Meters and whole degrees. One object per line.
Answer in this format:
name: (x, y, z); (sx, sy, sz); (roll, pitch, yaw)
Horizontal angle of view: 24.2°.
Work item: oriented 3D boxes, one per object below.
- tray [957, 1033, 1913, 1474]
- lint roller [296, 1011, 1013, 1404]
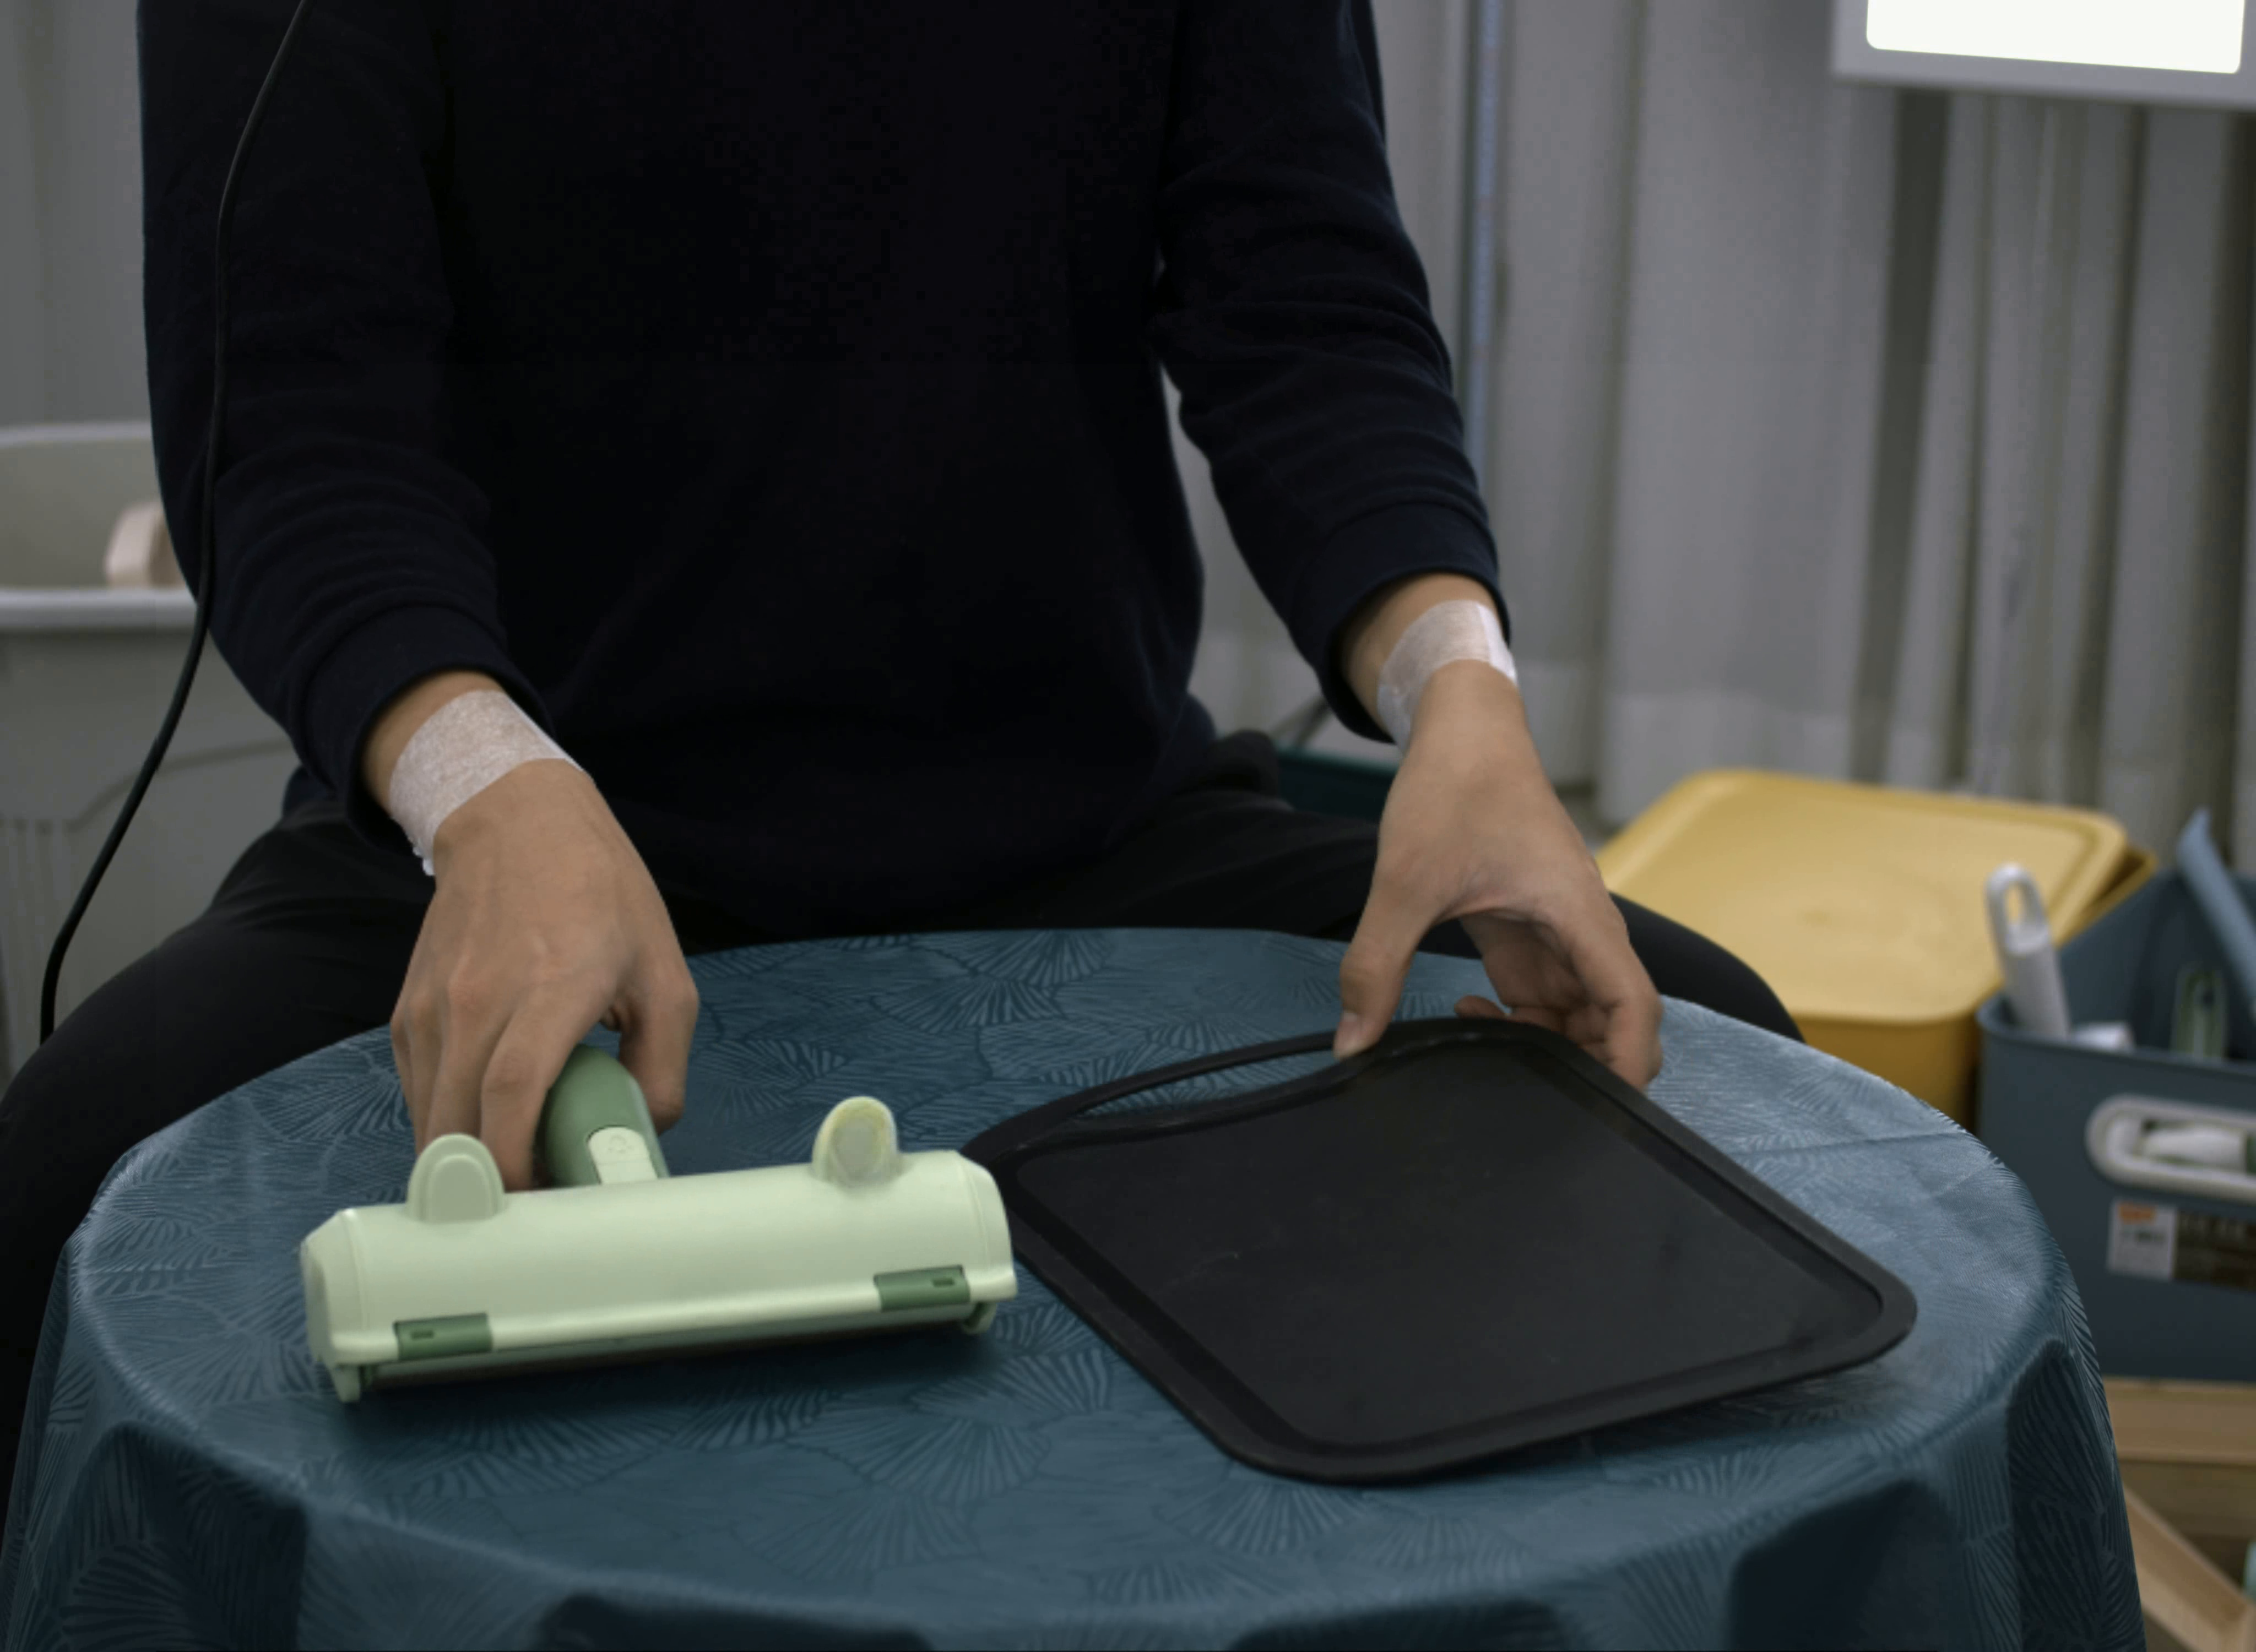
tray: (0.078, 0.117, 1.562); (0.211, 0.010, 0.321); (-11, 19, -19)
lint roller: (-0.148, 0.087, 1.512); (0.199, 0.083, 0.181); (-4, 37, -18)
